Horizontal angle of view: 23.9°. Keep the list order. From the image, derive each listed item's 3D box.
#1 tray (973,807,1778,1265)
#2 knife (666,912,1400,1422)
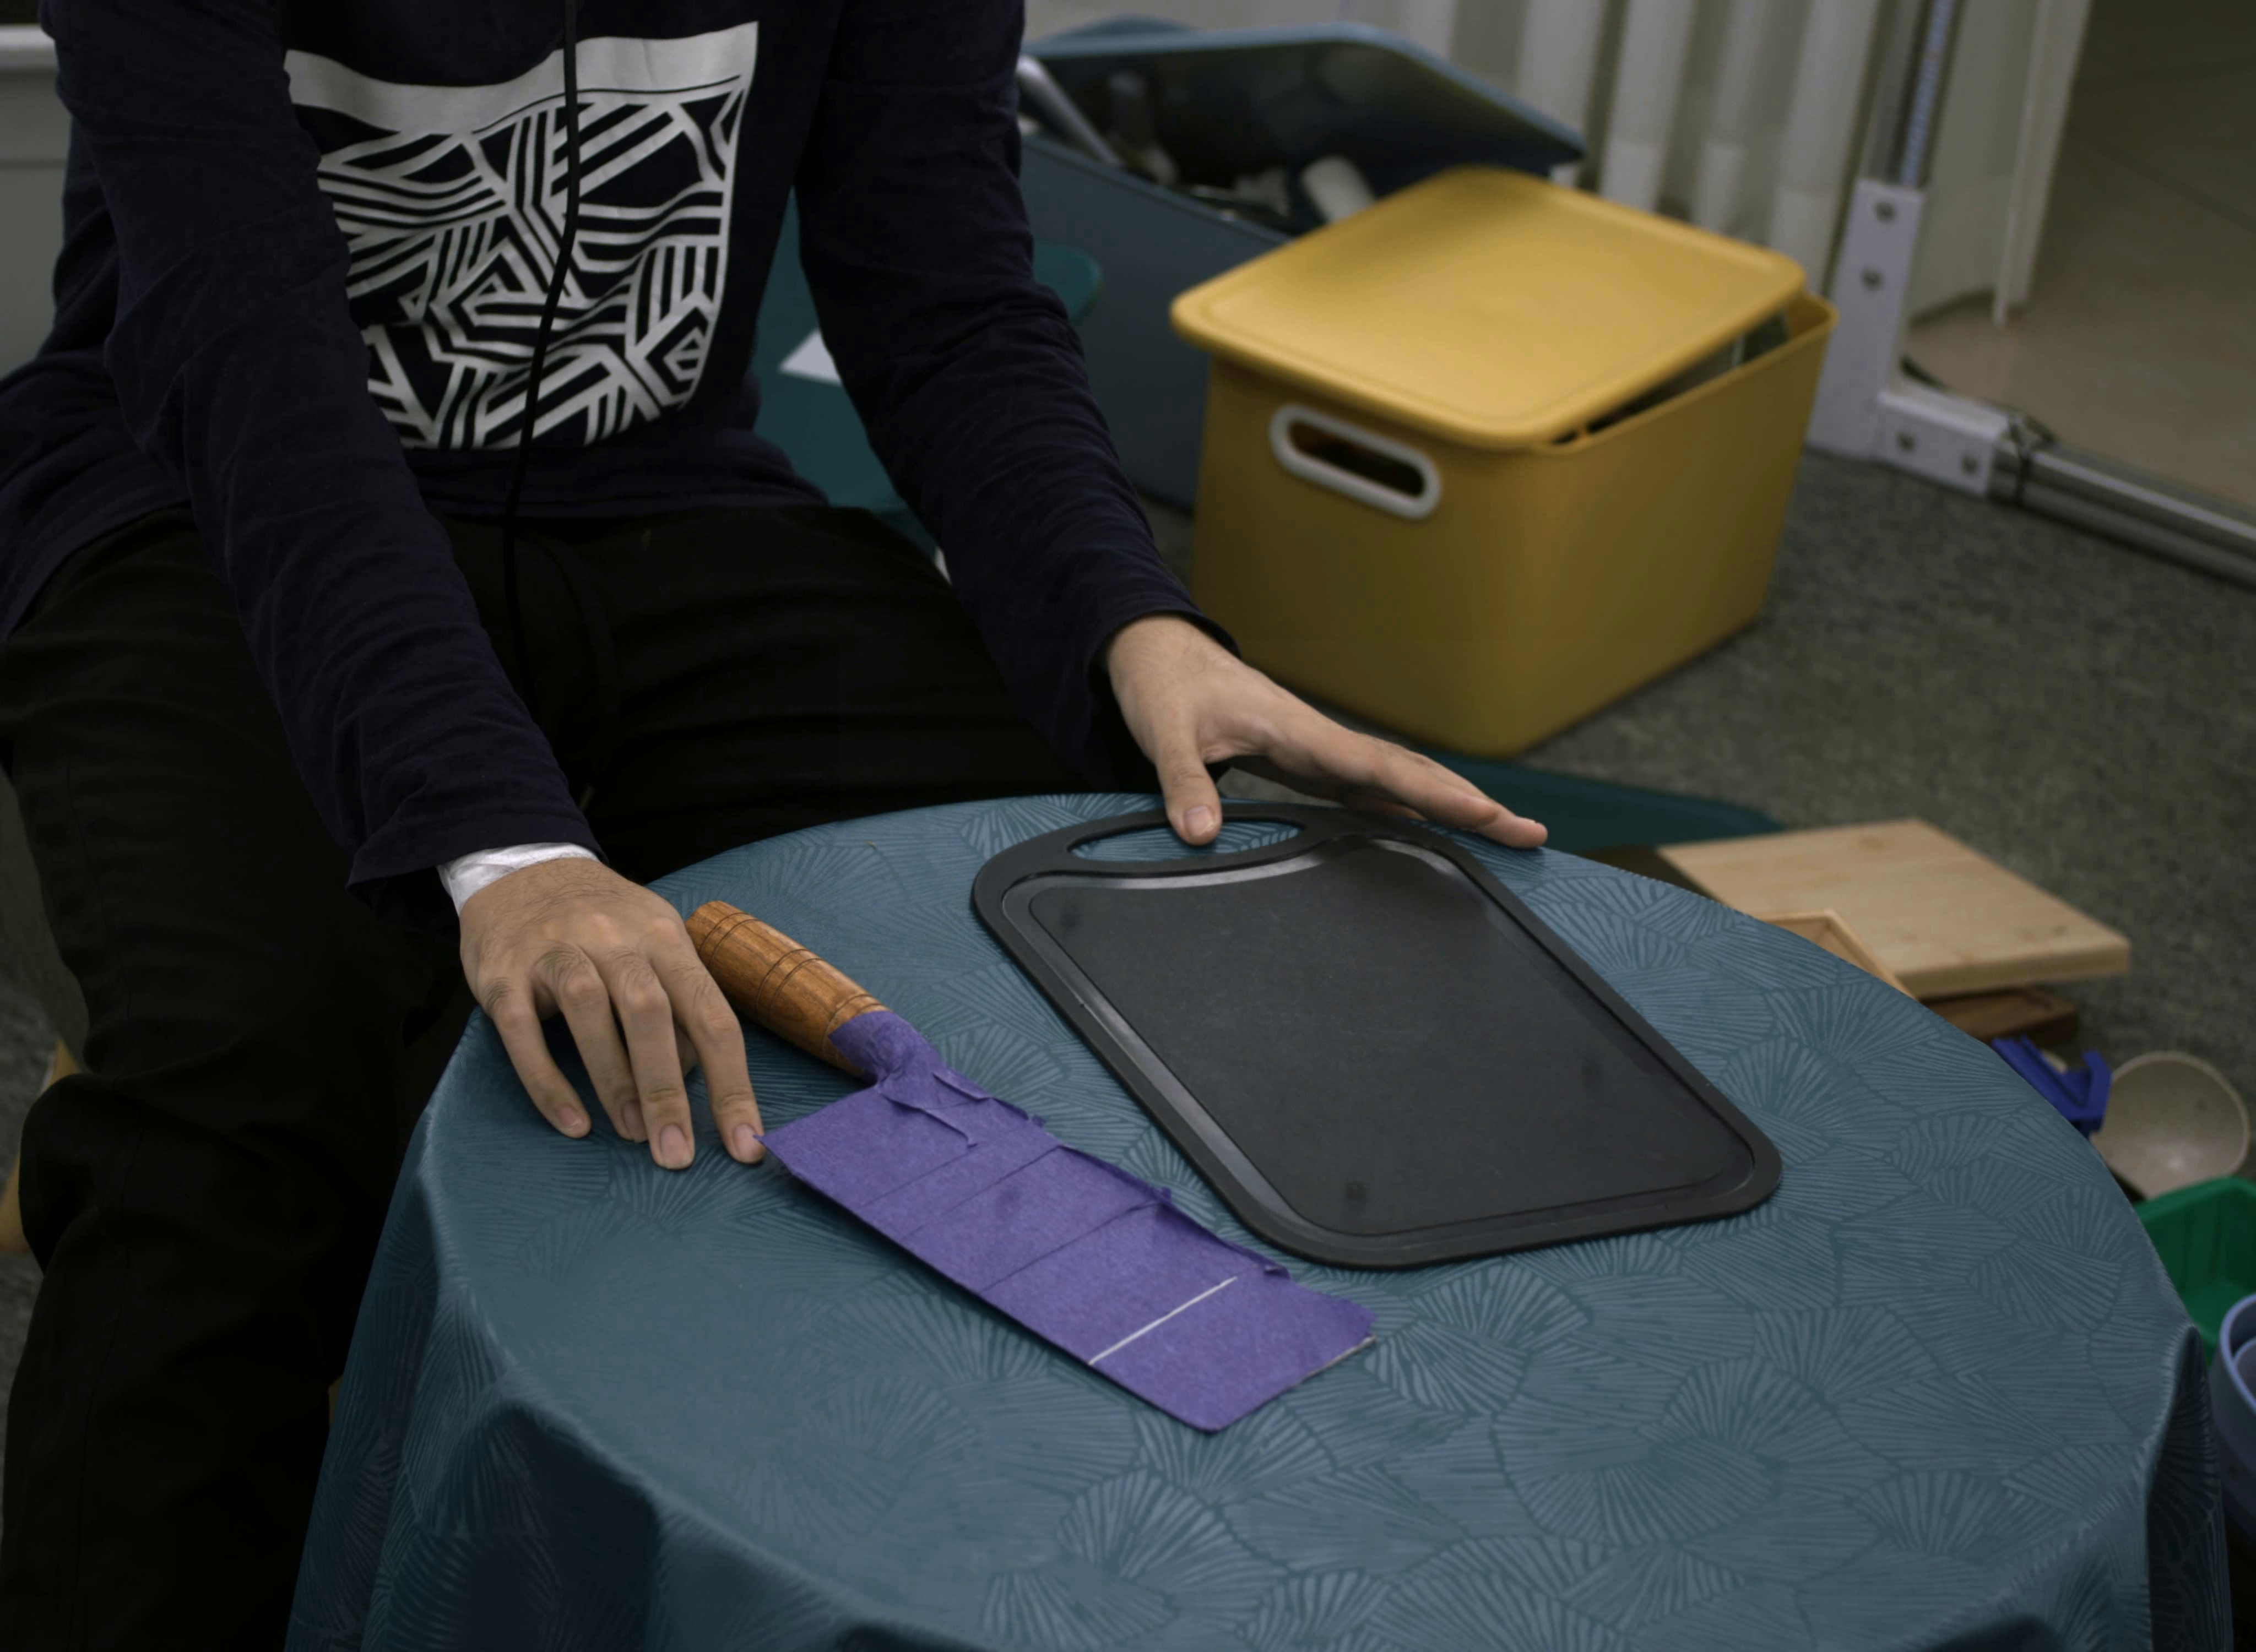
[{"bbox_3d":[0.080,0.067,1.929,0.210,0.010,0.328,-6,29,-25],"label":"tray"},{"bbox_3d":[-0.058,0.111,1.787,0.317,0.032,0.103,27,33,34],"label":"knife"}]
